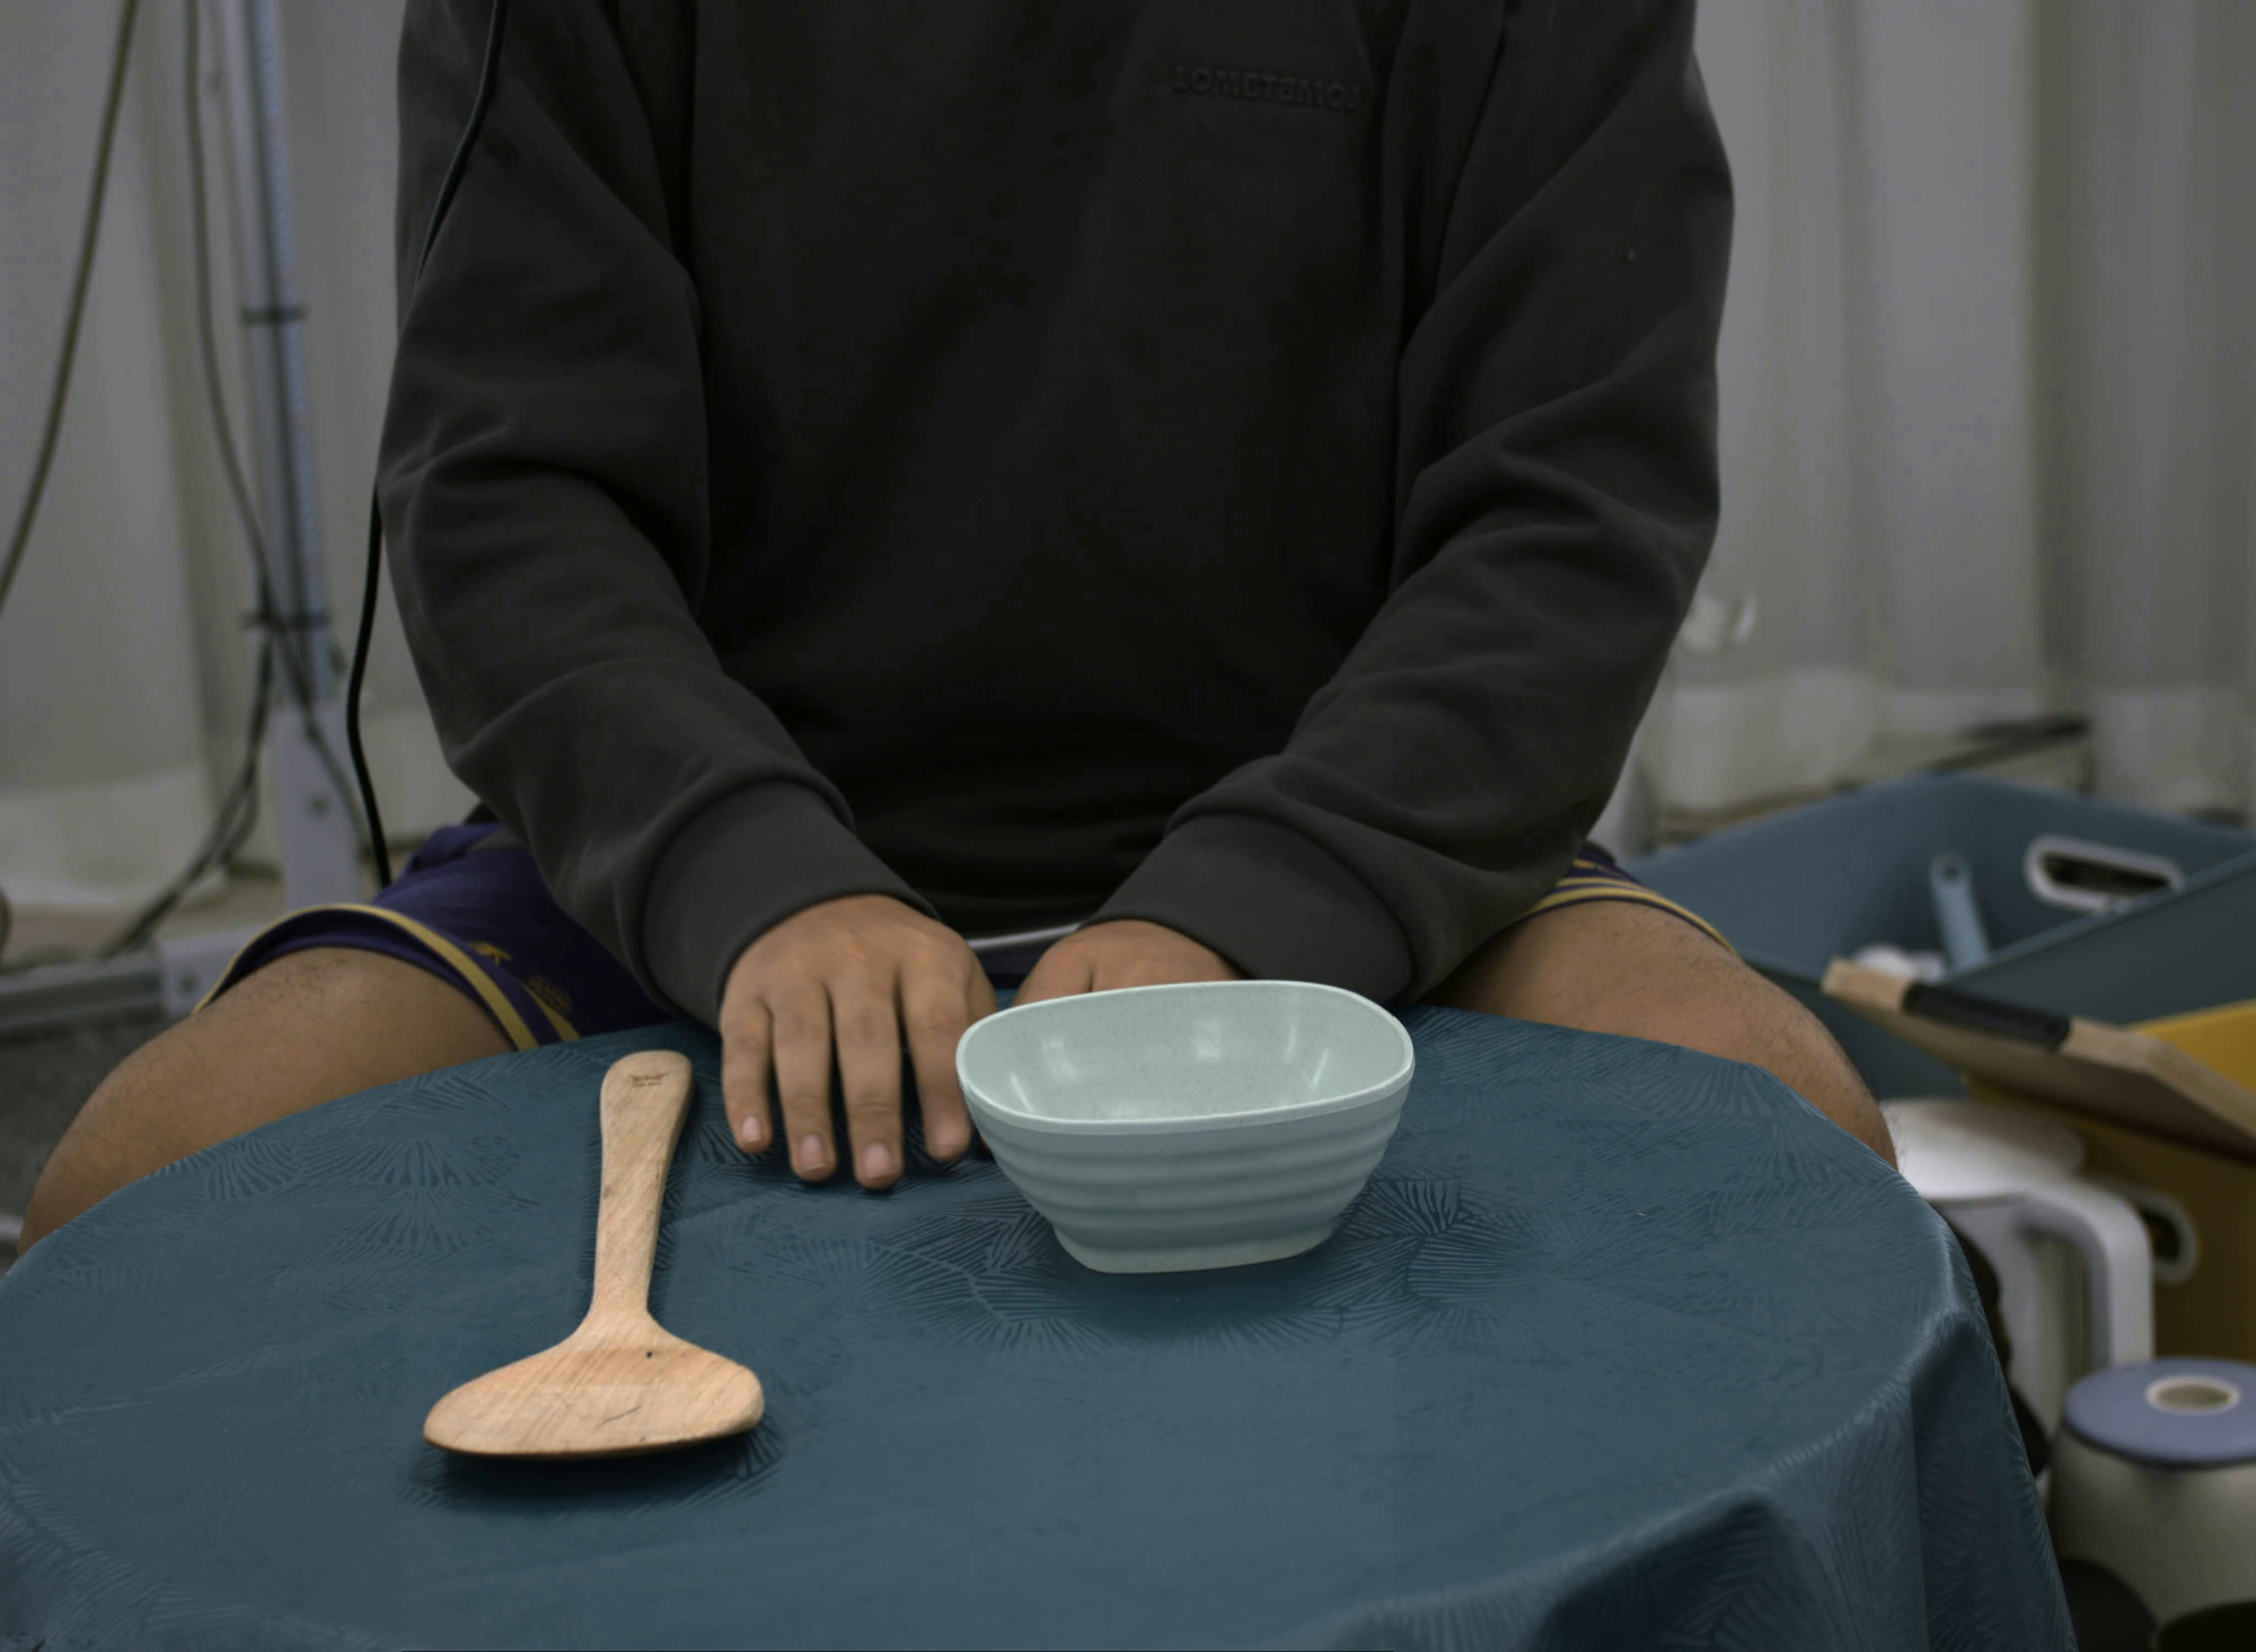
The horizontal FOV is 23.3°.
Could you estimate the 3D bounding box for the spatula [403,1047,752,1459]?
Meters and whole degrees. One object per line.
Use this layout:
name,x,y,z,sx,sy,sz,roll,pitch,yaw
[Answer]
spatula,-0.159,0.125,1.672,0.095,0.018,0.393,-2,15,-2

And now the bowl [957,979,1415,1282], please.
bowl,0.018,0.097,1.676,0.151,0.058,0.152,-2,16,0
